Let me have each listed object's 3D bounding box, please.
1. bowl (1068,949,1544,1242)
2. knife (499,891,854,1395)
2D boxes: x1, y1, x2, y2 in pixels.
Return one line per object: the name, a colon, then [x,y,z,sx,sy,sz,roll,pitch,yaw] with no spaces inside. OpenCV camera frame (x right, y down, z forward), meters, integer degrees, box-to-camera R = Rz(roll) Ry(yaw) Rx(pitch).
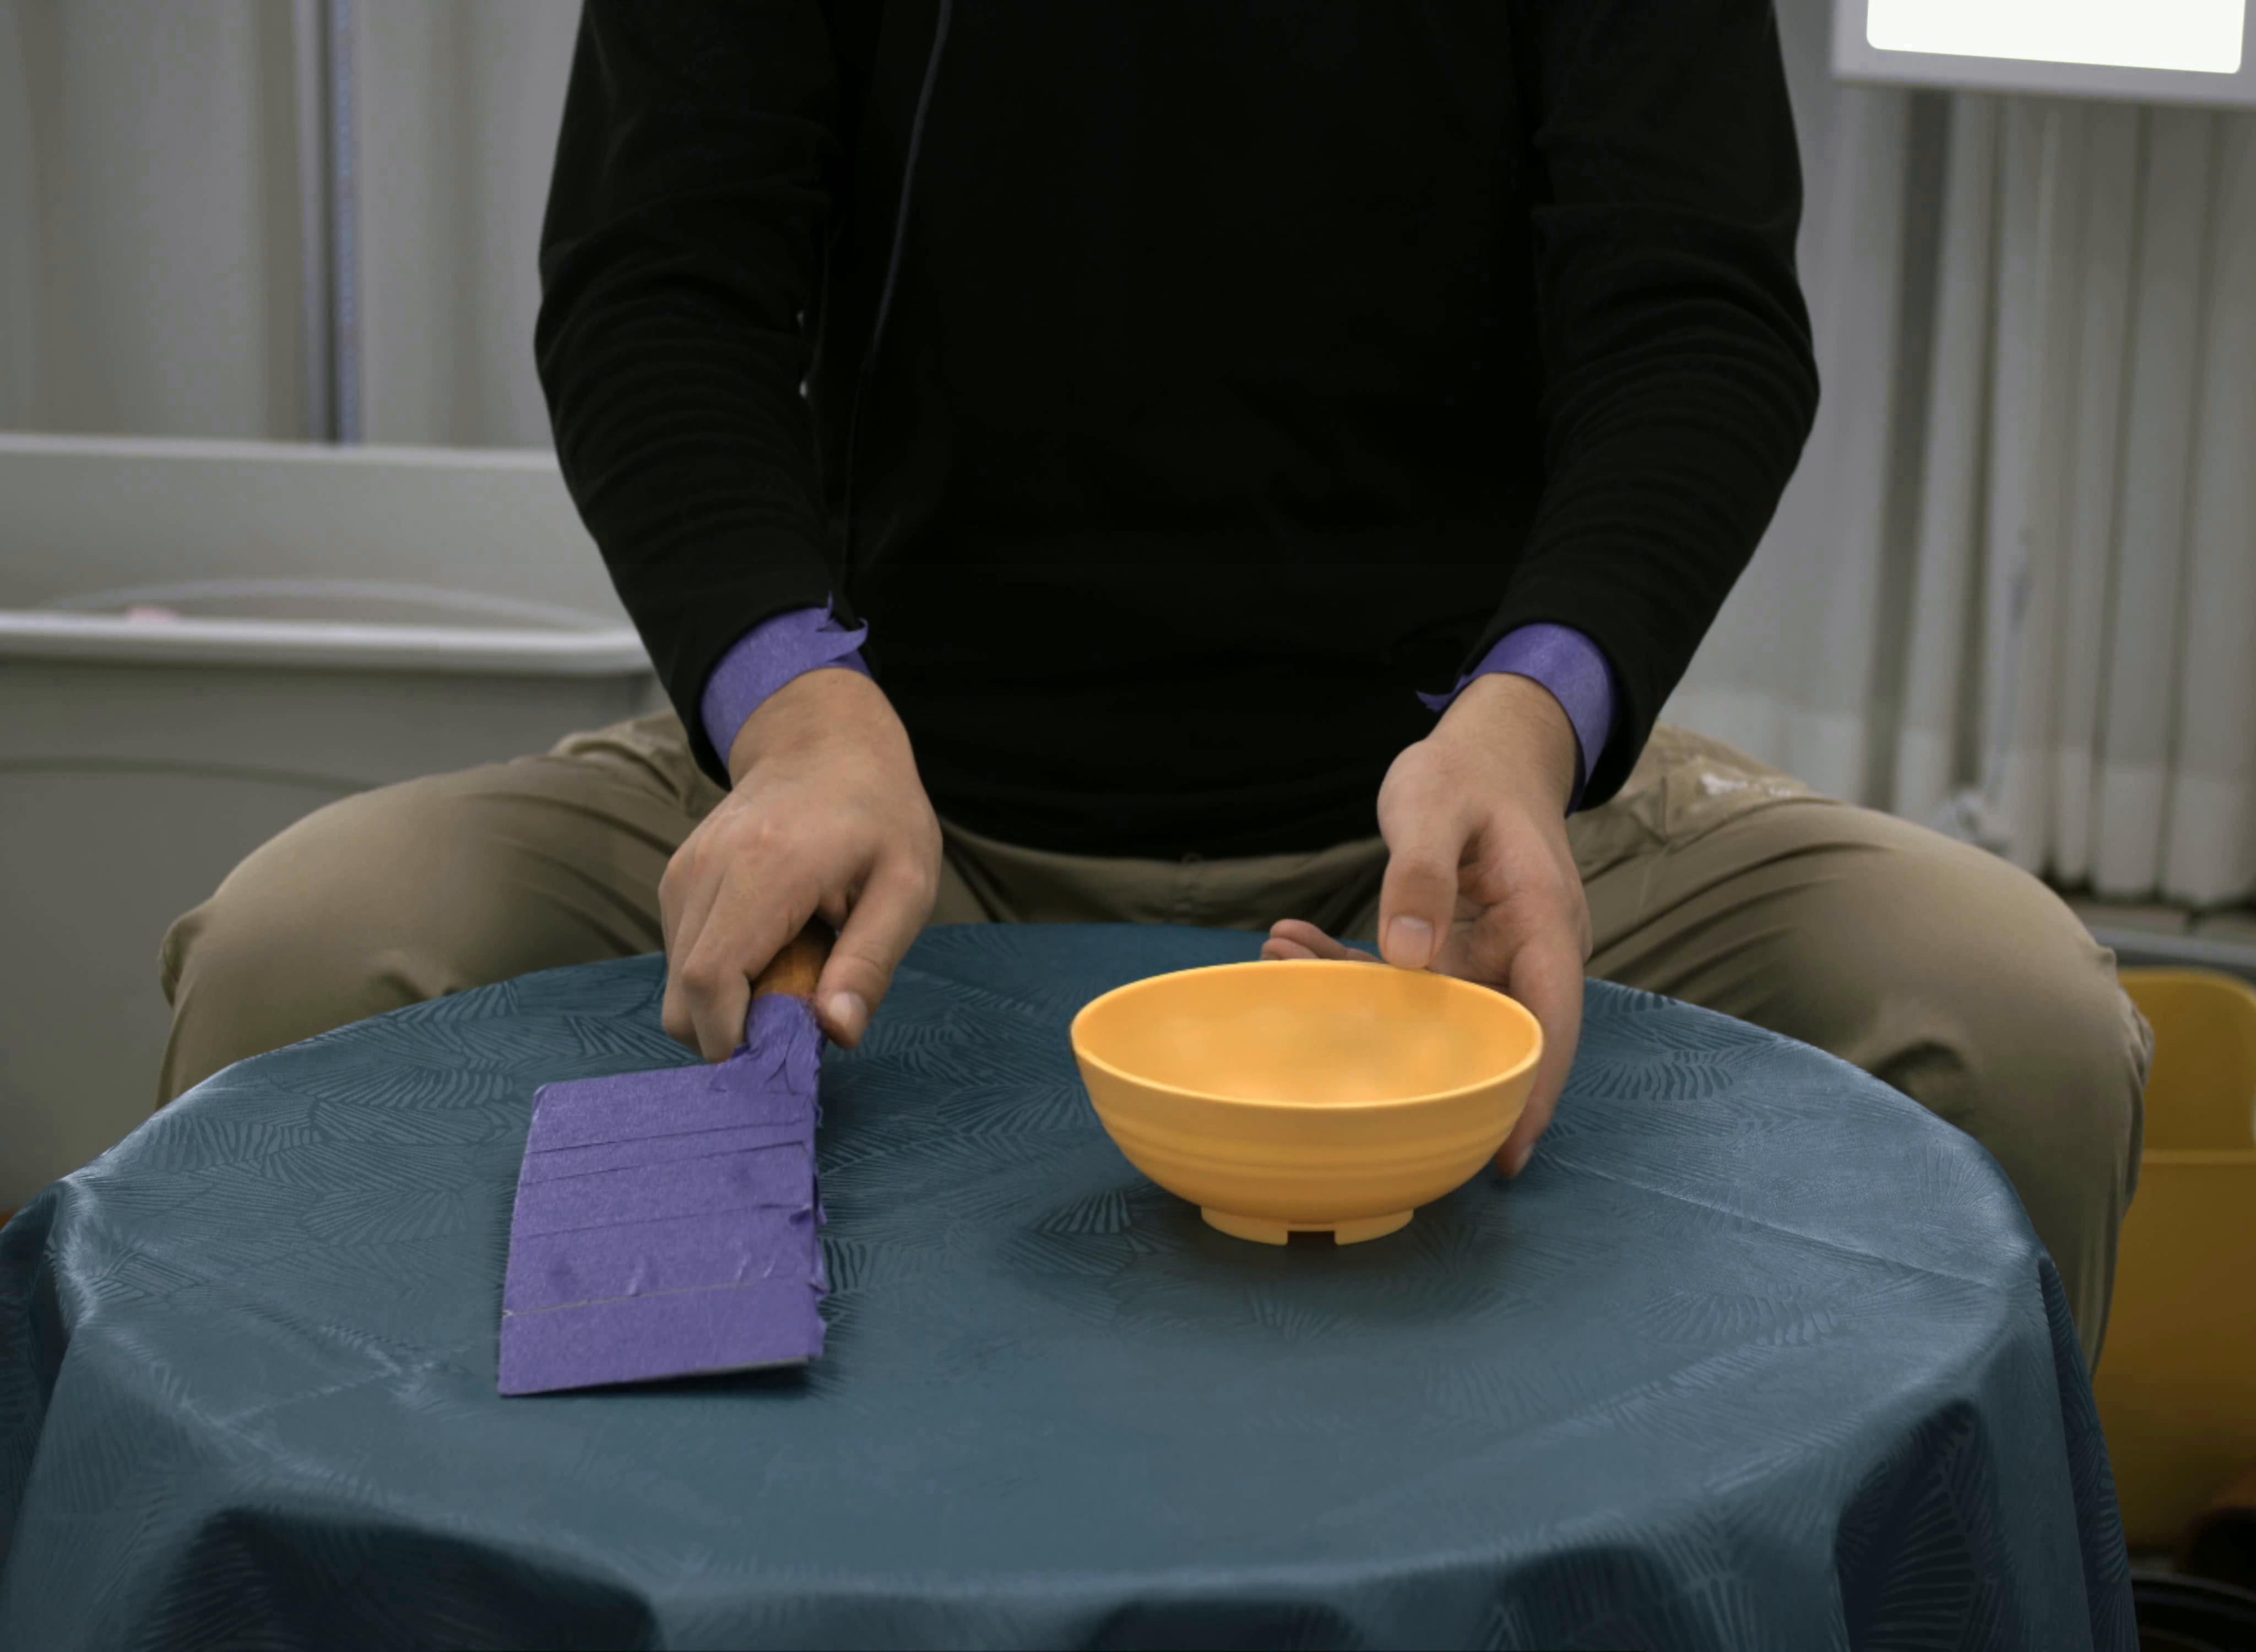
bowl: [0.053,0.087,1.600,0.145,0.060,0.144,2,17,0]
knife: [-0.136,0.091,1.592,0.103,0.032,0.313,-6,20,-1]
